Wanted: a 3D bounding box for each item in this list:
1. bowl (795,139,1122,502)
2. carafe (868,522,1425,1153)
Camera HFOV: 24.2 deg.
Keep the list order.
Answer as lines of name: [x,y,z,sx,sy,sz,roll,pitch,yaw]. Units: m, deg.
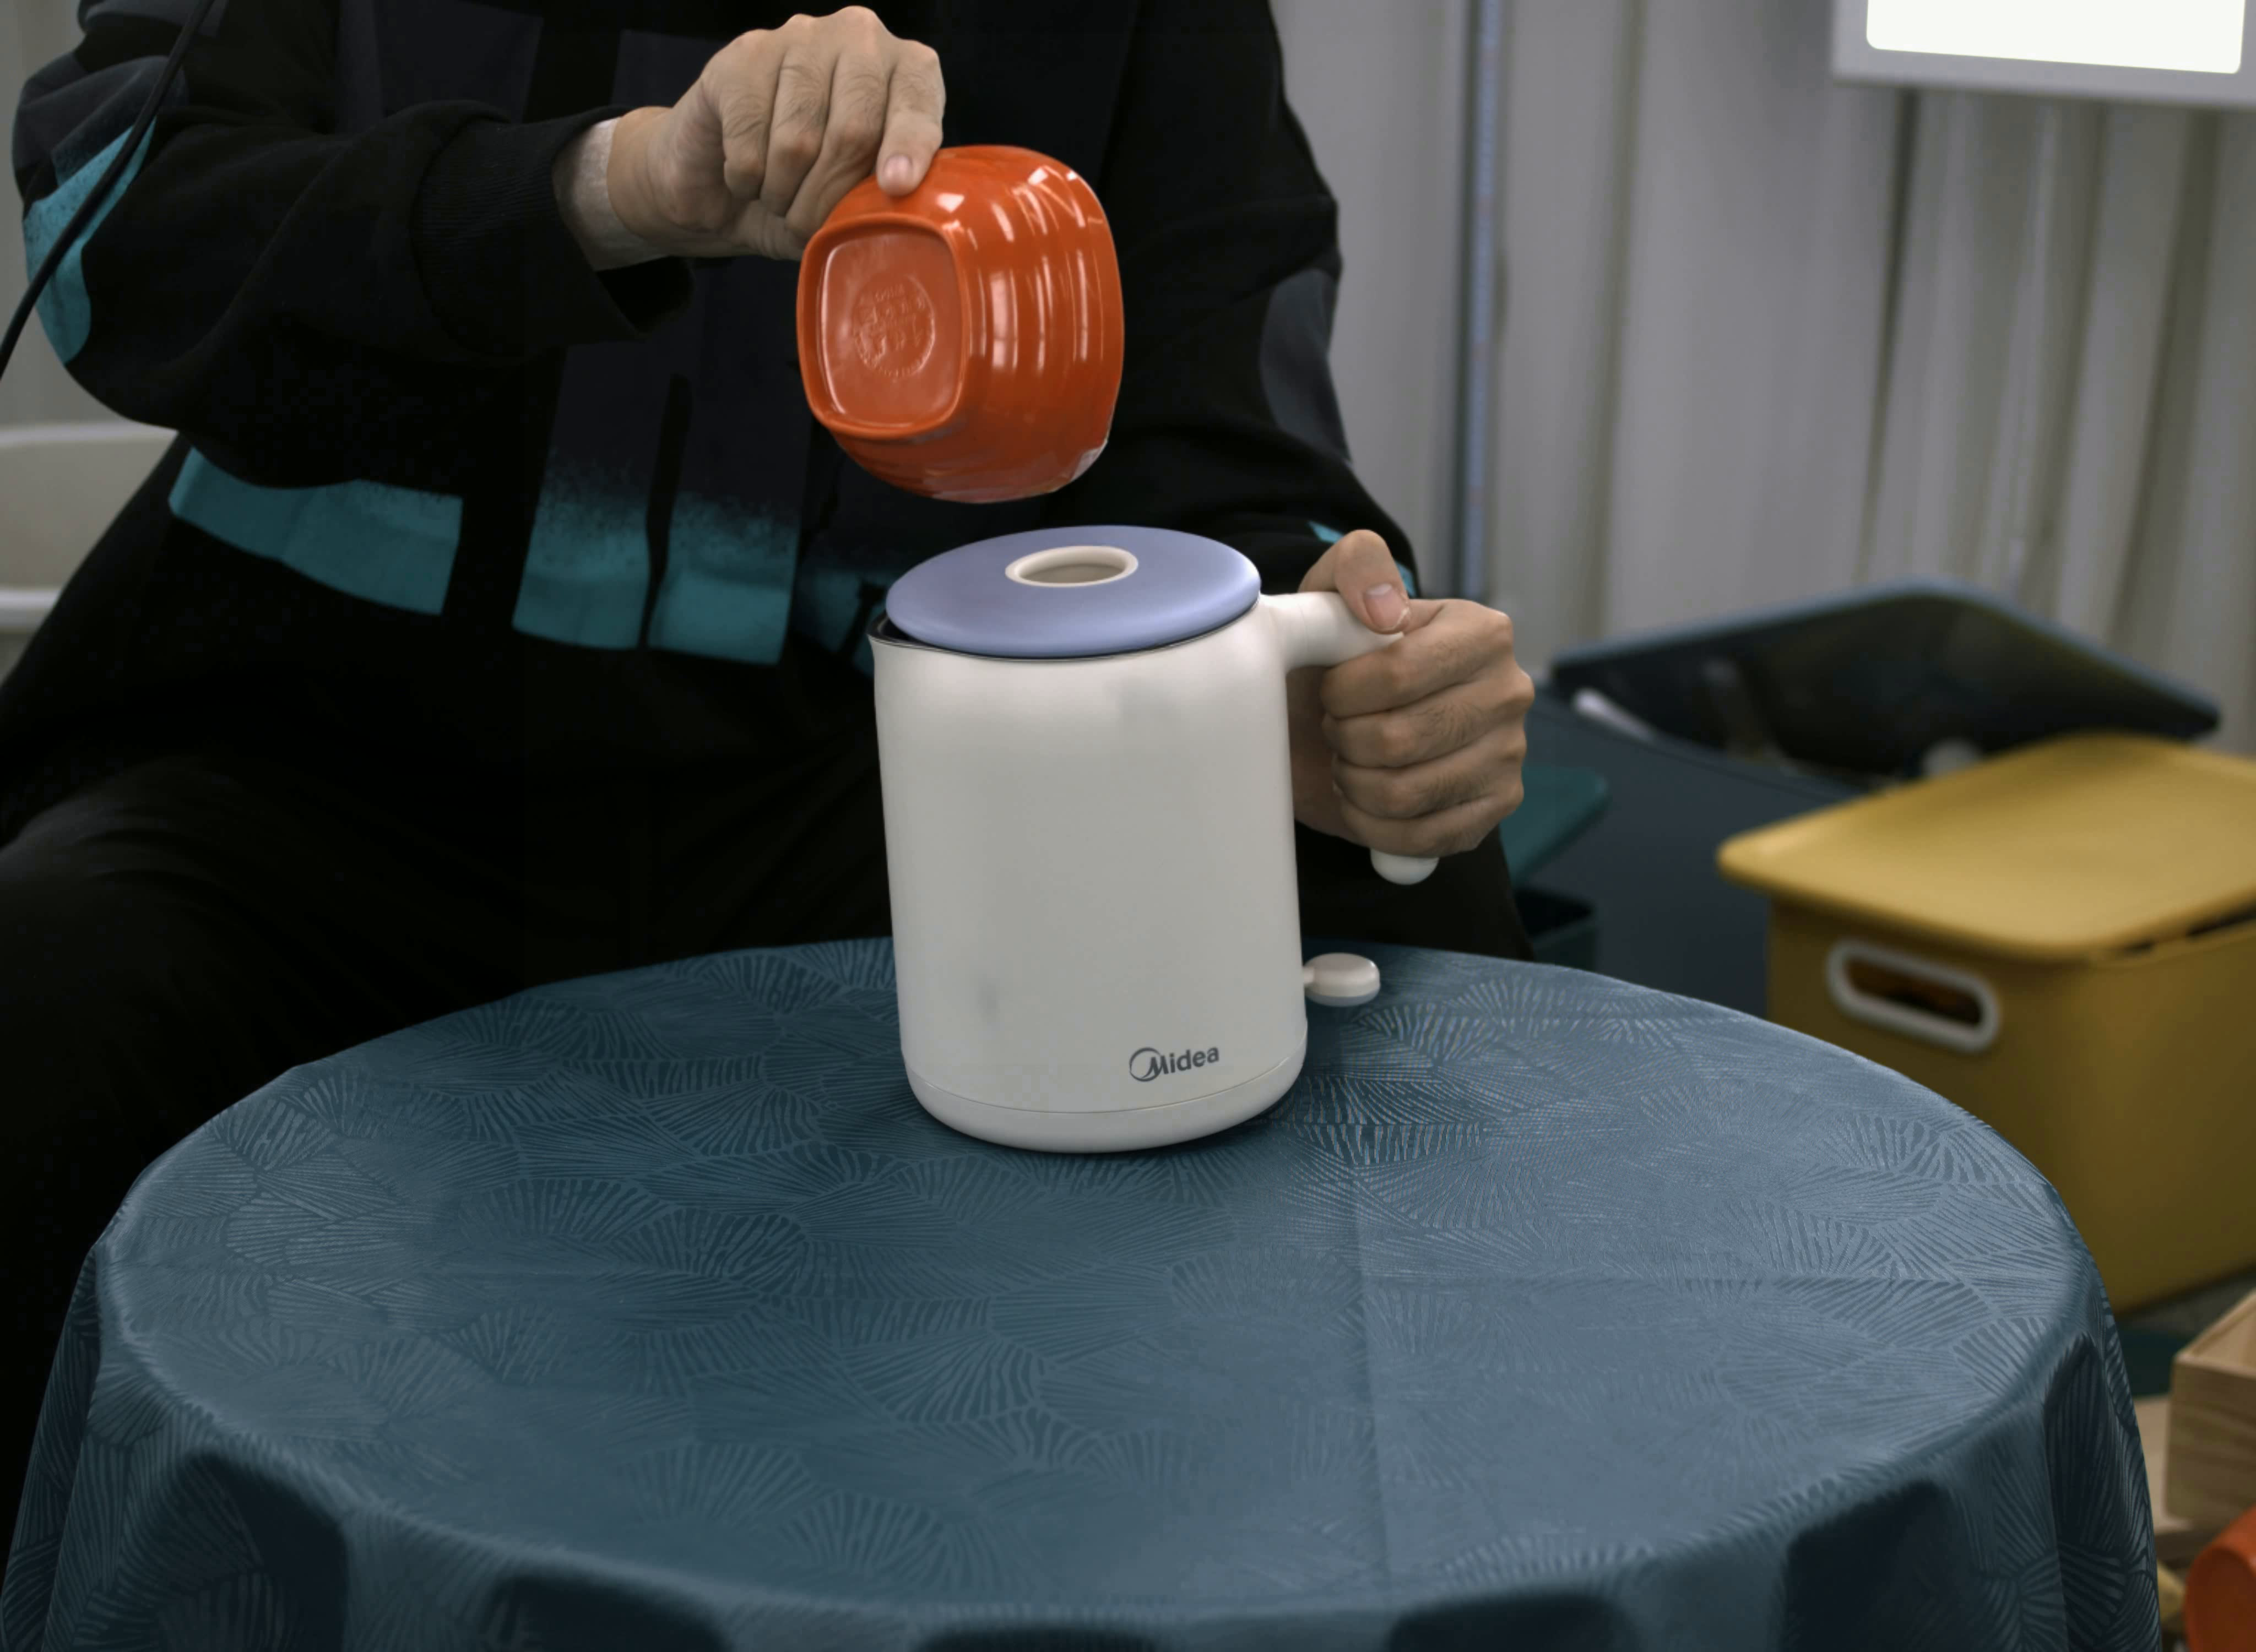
bowl: [-0.059,-0.152,1.589,0.117,0.120,0.051,13,16,37]
carafe: [0.009,-0.001,1.684,0.191,0.184,0.130,-9,22,-22]
